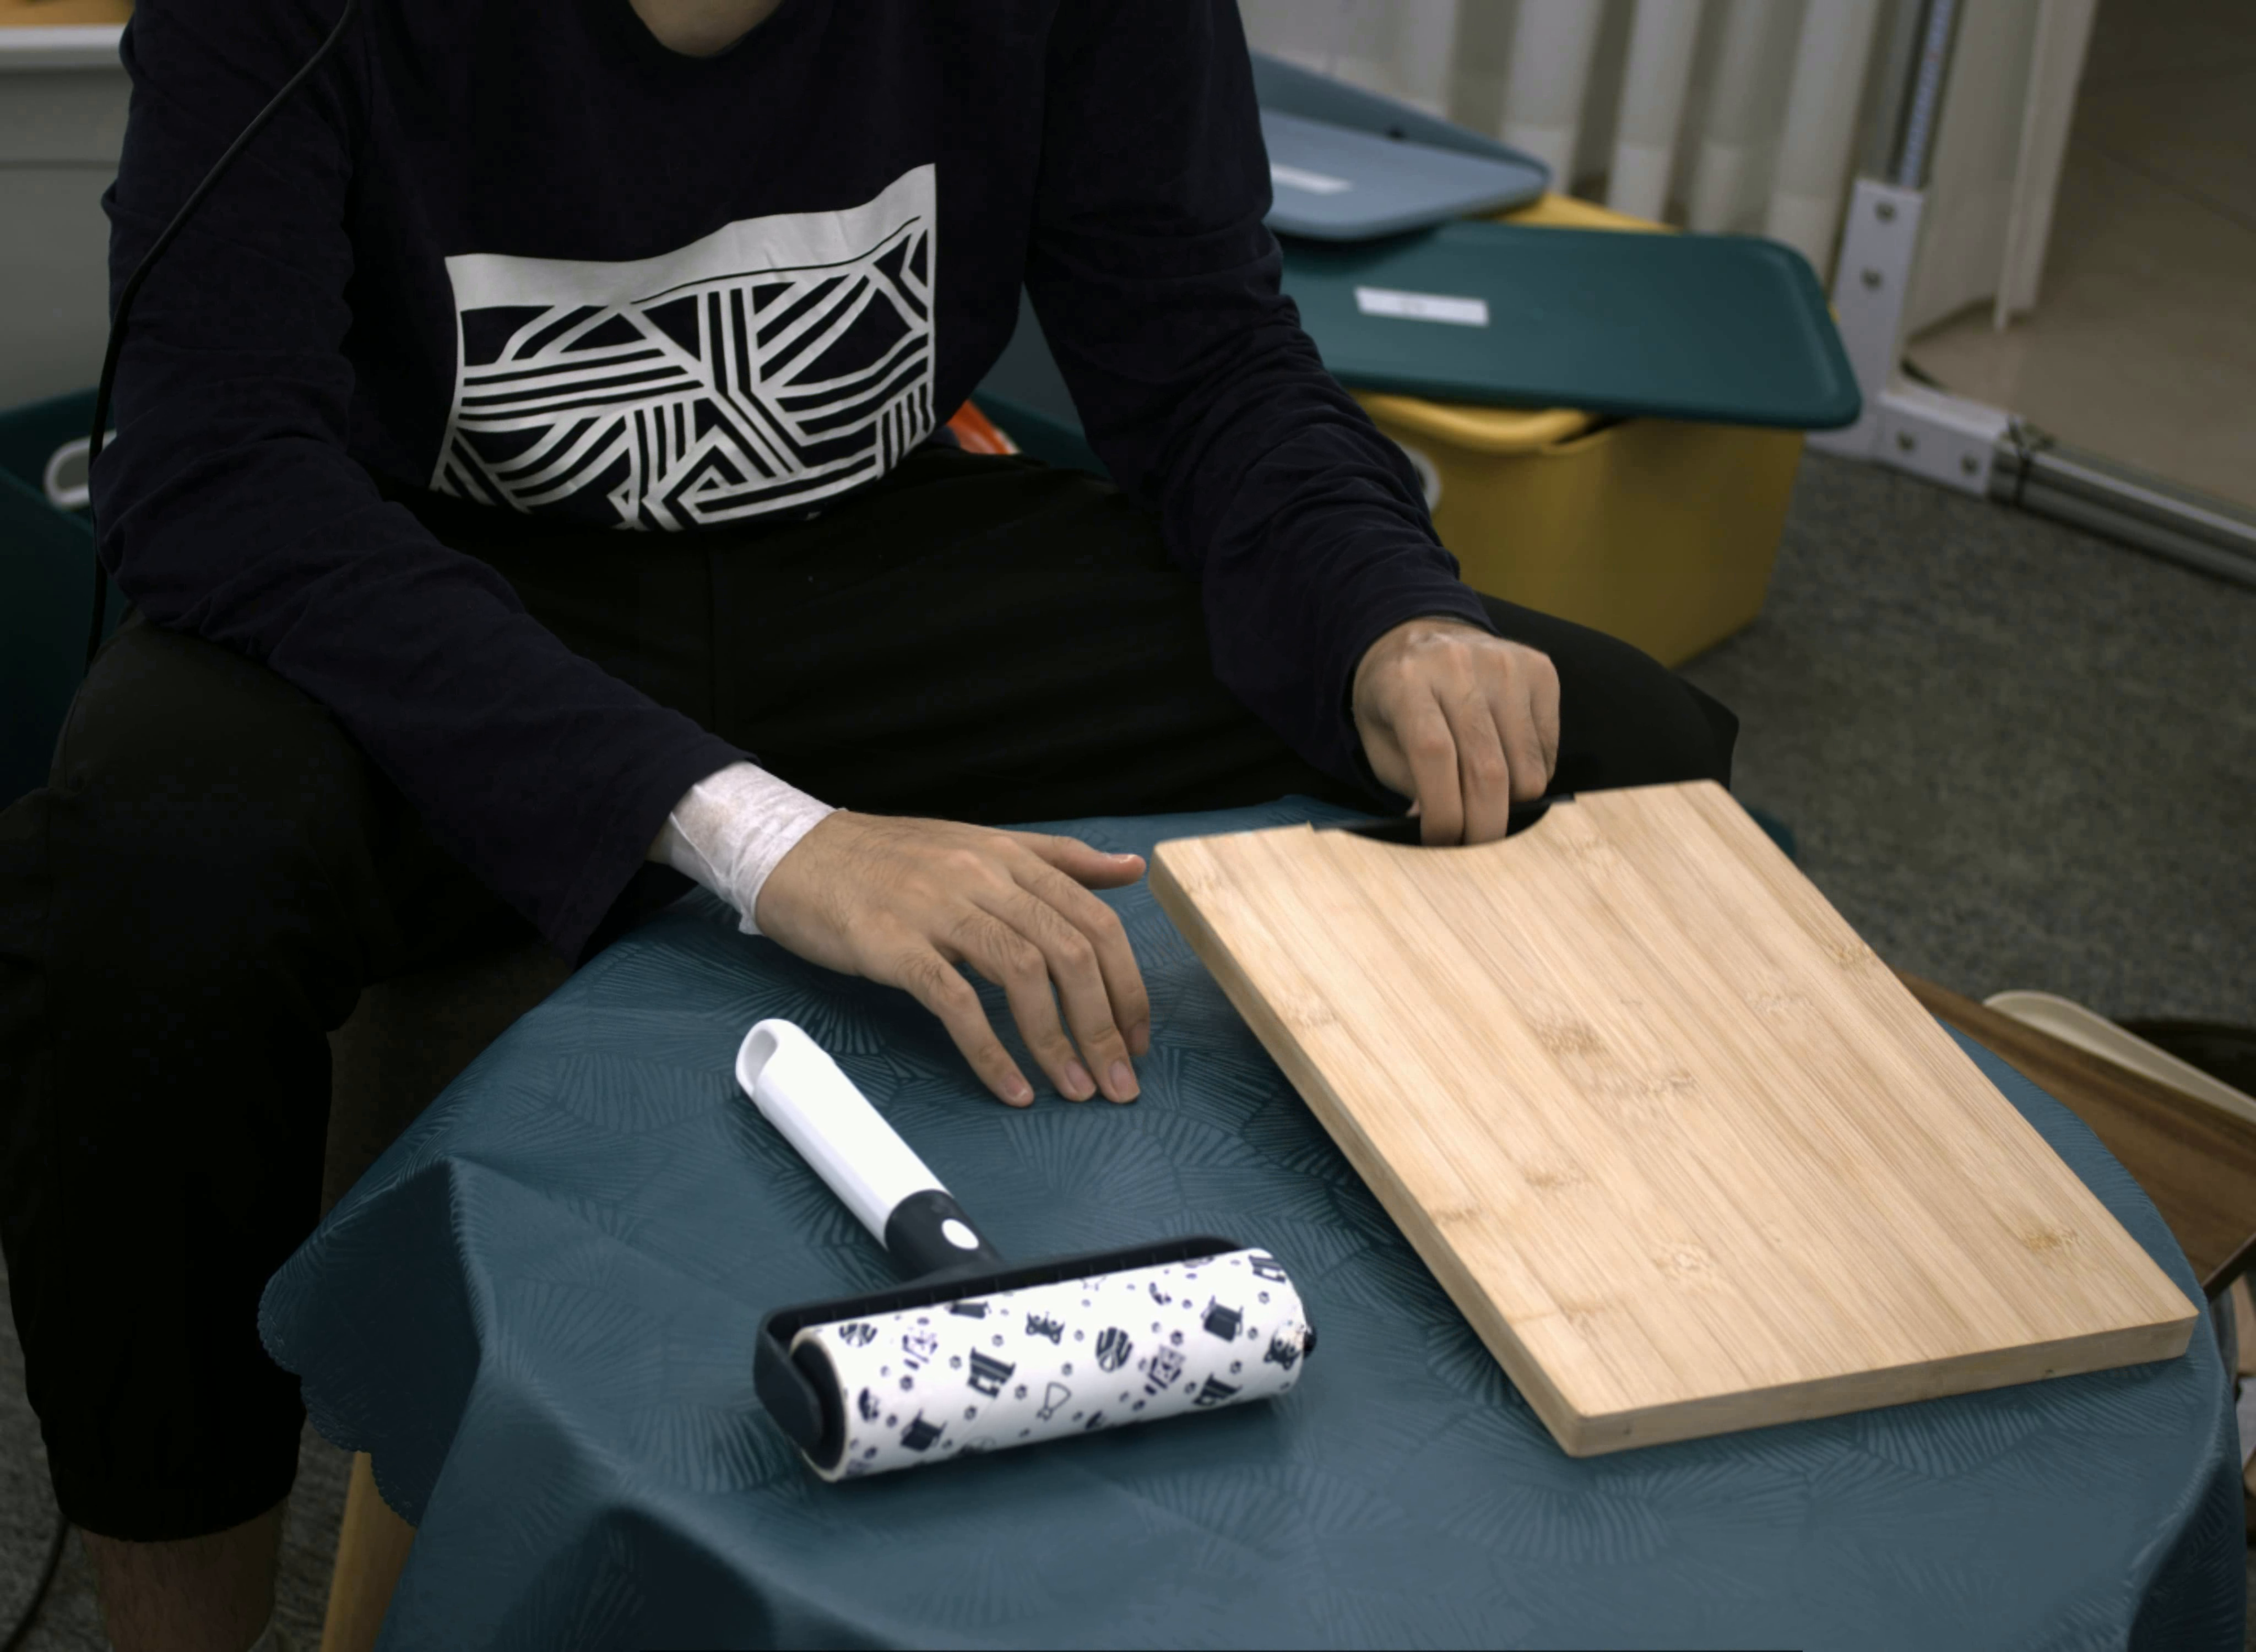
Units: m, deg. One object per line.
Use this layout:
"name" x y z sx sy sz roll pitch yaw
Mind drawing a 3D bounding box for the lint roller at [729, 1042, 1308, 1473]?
"lint roller" -0.074 0.125 1.742 0.175 0.050 0.249 -9 28 -27

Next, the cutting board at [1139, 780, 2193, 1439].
"cutting board" 0.179 0.091 1.861 0.249 0.023 0.352 -6 34 -24
